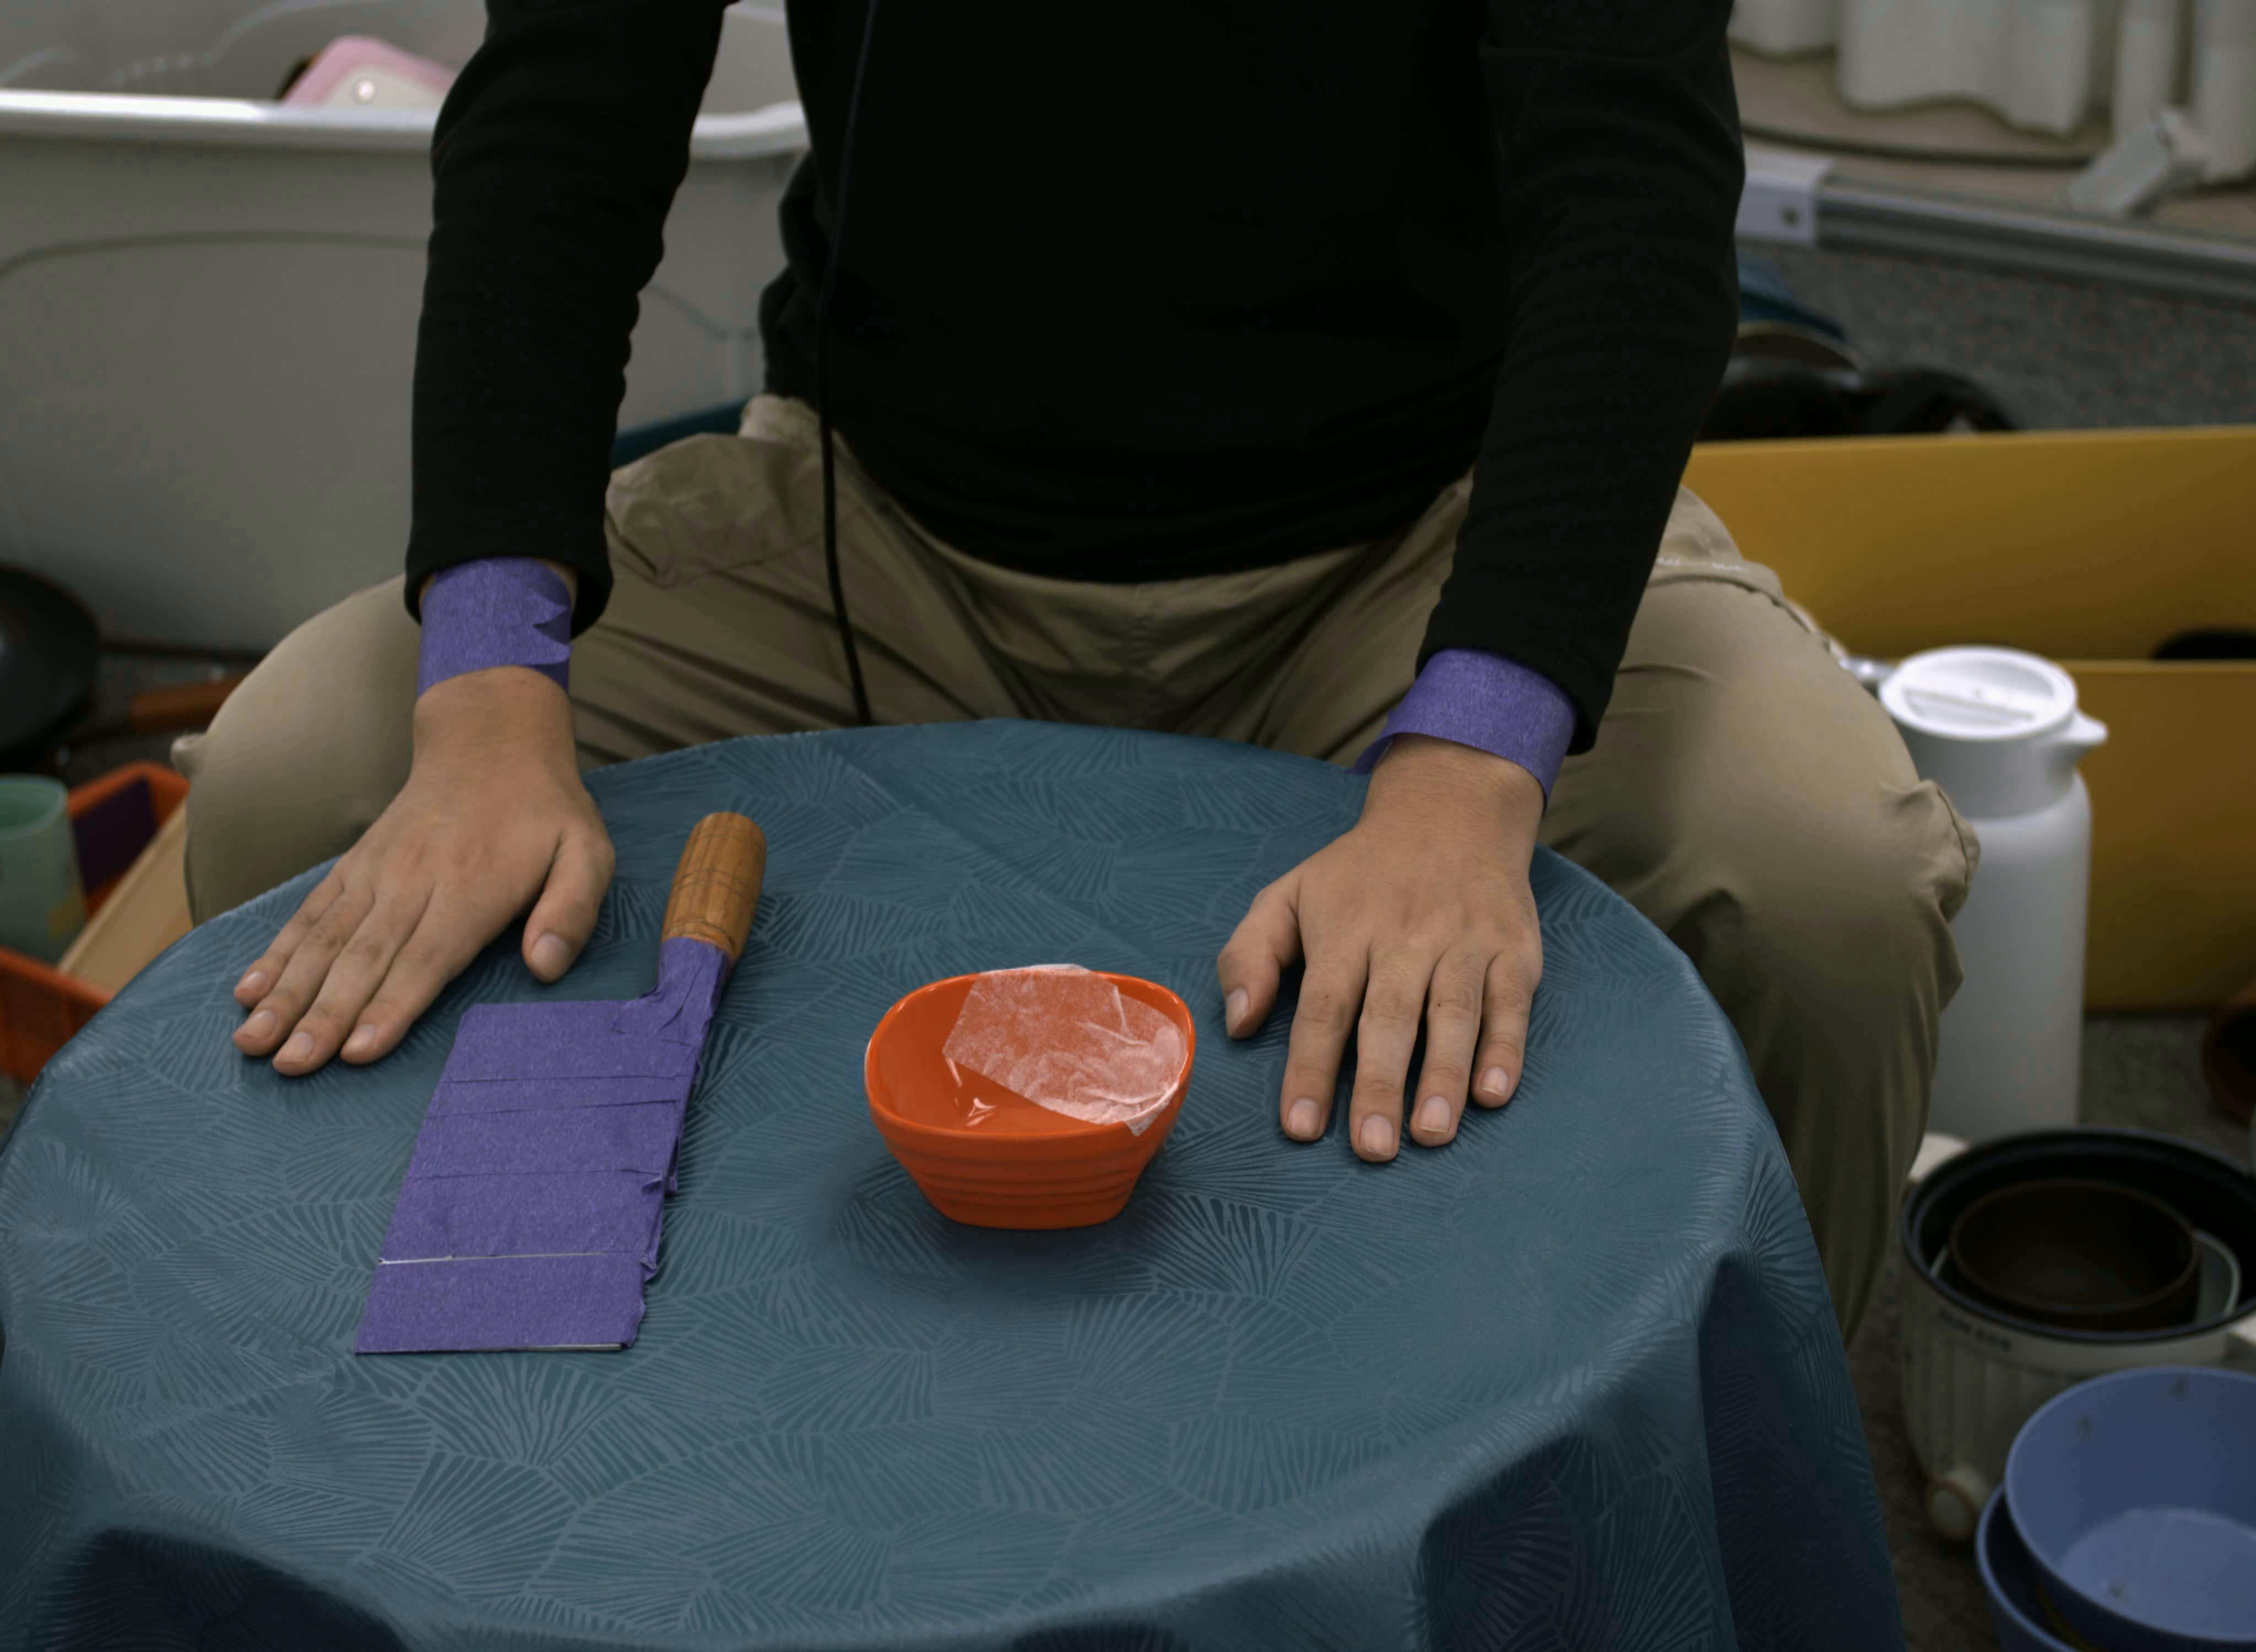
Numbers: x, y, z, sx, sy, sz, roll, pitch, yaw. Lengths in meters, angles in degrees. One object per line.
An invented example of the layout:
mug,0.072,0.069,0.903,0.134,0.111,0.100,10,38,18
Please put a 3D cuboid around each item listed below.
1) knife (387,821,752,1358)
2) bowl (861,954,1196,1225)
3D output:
knife,-0.190,0.086,1.918,0.103,0.032,0.320,0,28,4
bowl,-0.031,0.092,1.857,0.118,0.051,0.121,-4,30,3
